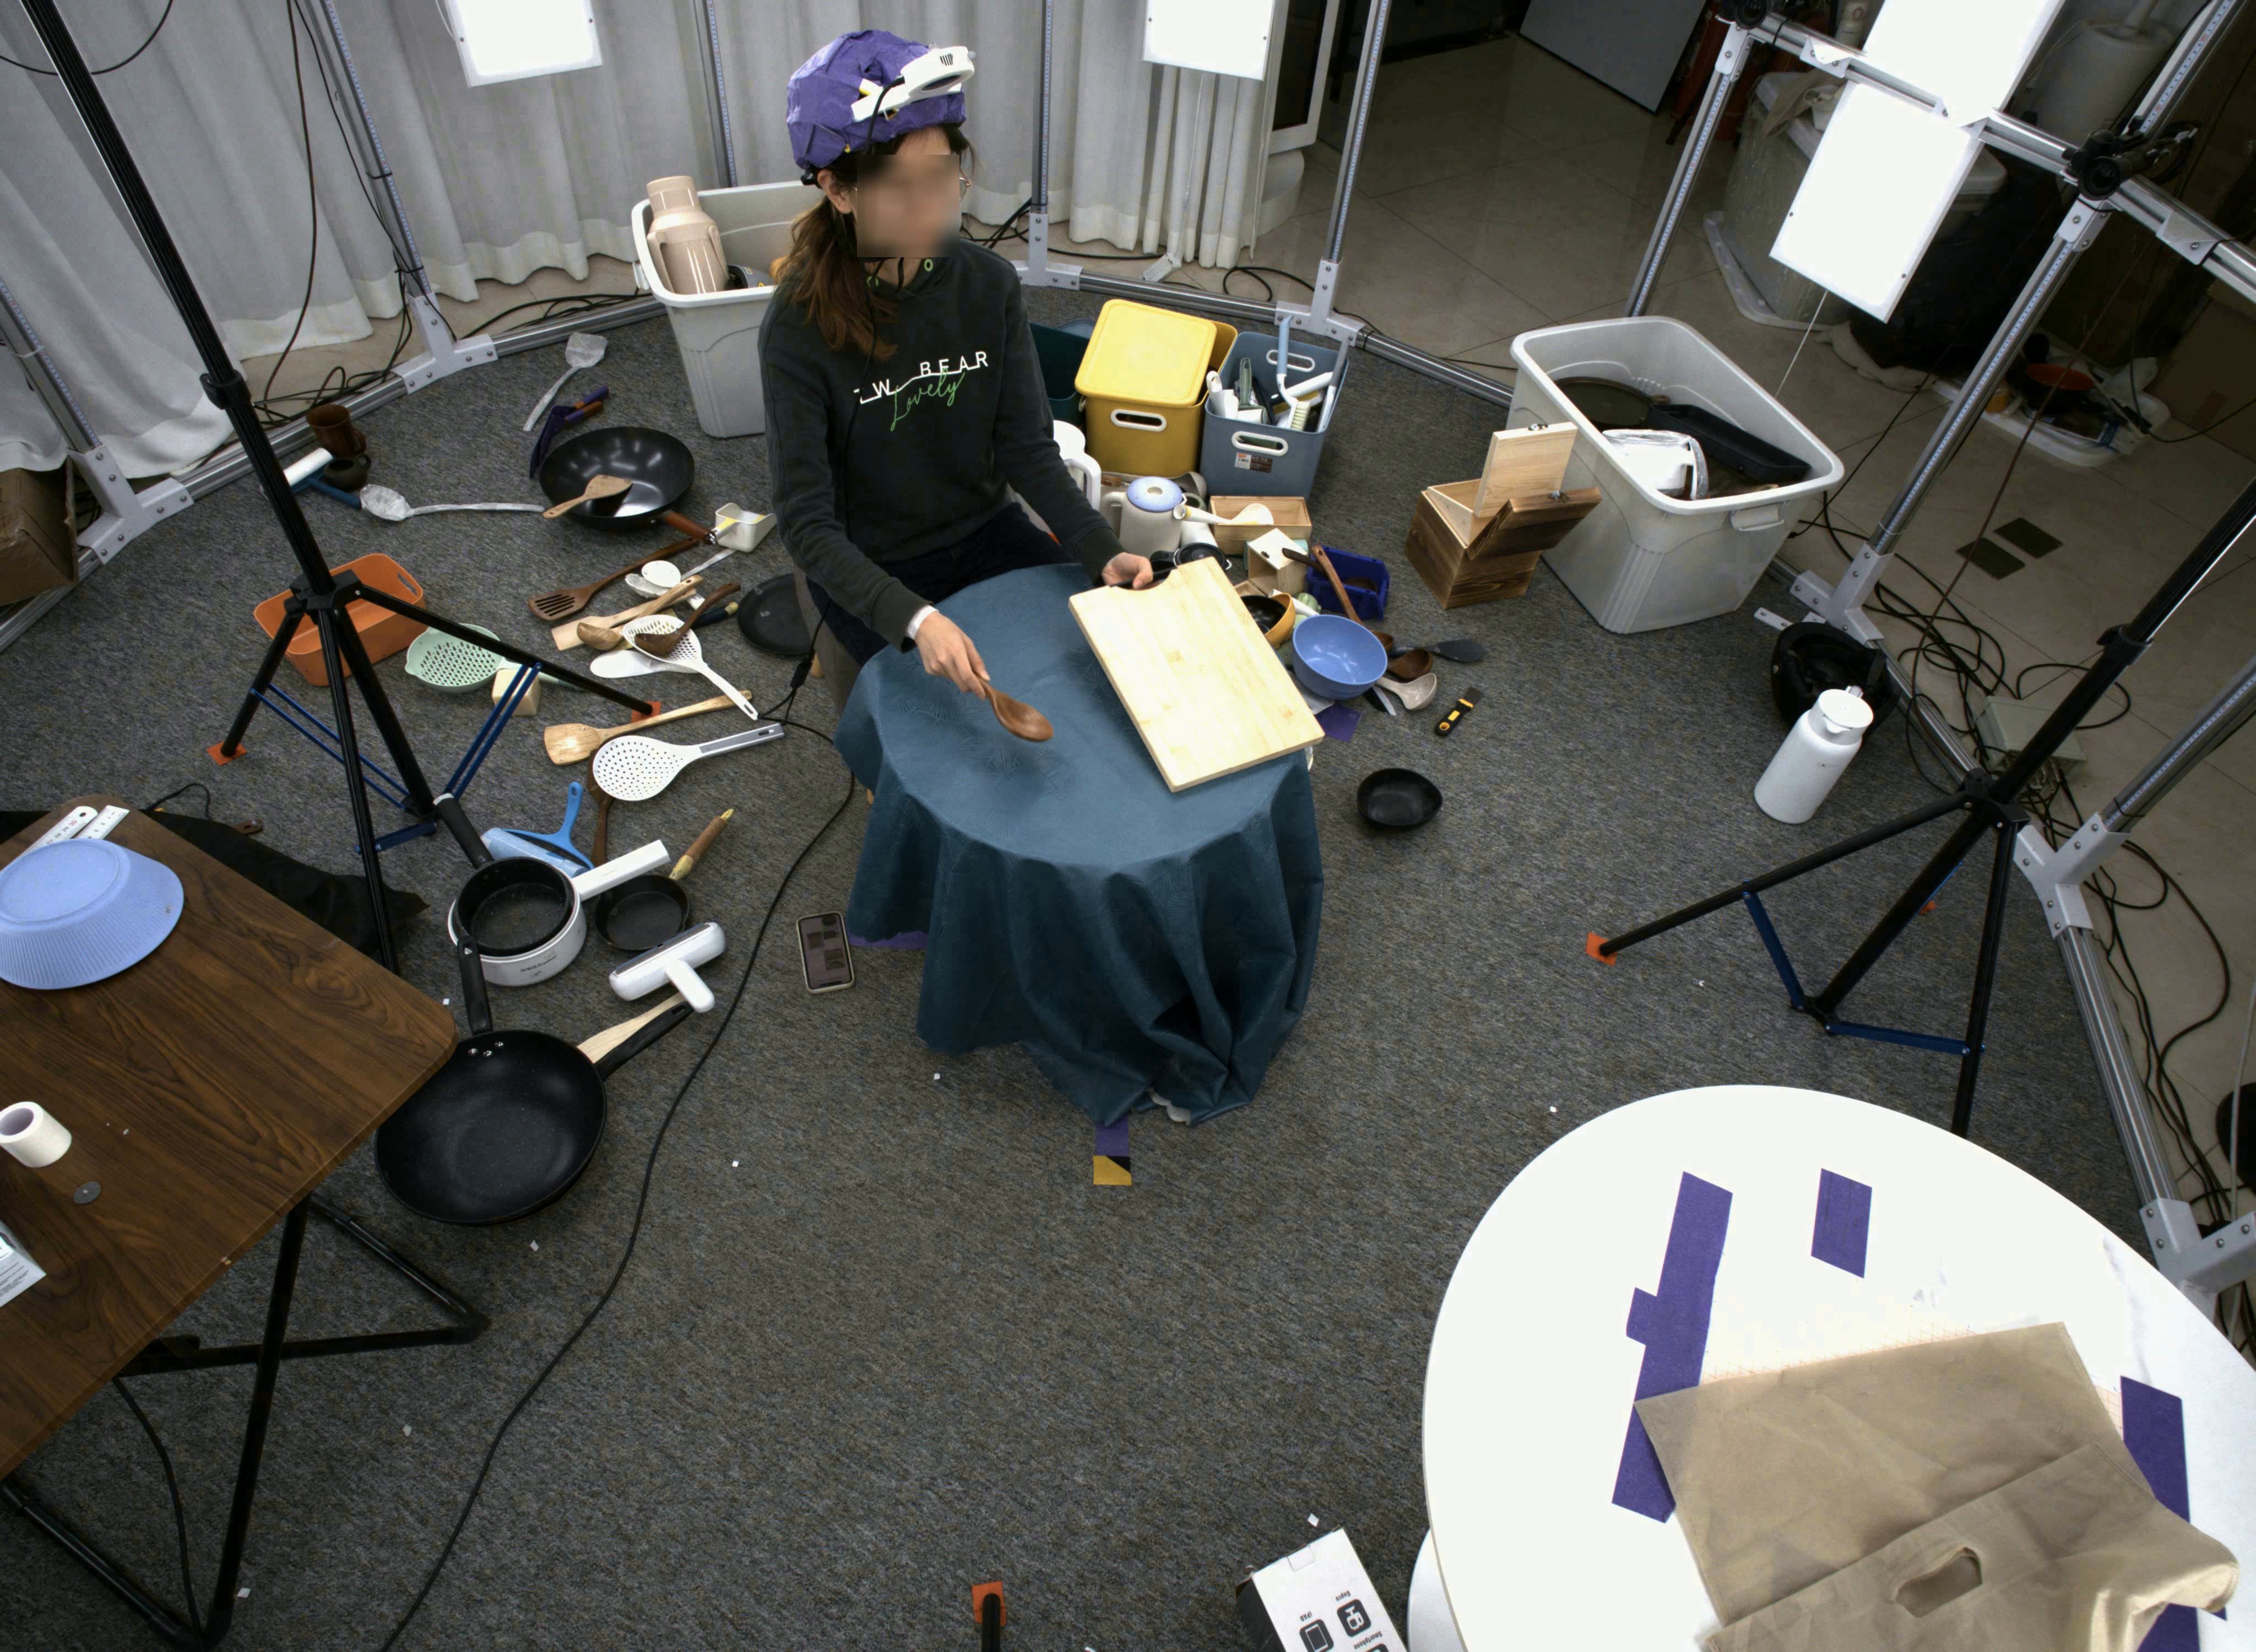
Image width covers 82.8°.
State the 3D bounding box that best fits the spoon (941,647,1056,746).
[{"bbox_3d":[-0.180,-0.174,1.734,0.076,0.017,0.219,-19,55,-45],"label":"spoon"}]

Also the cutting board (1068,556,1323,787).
[{"bbox_3d":[0.092,-0.228,1.836,0.251,0.023,0.355,-19,63,-20],"label":"cutting board"}]
